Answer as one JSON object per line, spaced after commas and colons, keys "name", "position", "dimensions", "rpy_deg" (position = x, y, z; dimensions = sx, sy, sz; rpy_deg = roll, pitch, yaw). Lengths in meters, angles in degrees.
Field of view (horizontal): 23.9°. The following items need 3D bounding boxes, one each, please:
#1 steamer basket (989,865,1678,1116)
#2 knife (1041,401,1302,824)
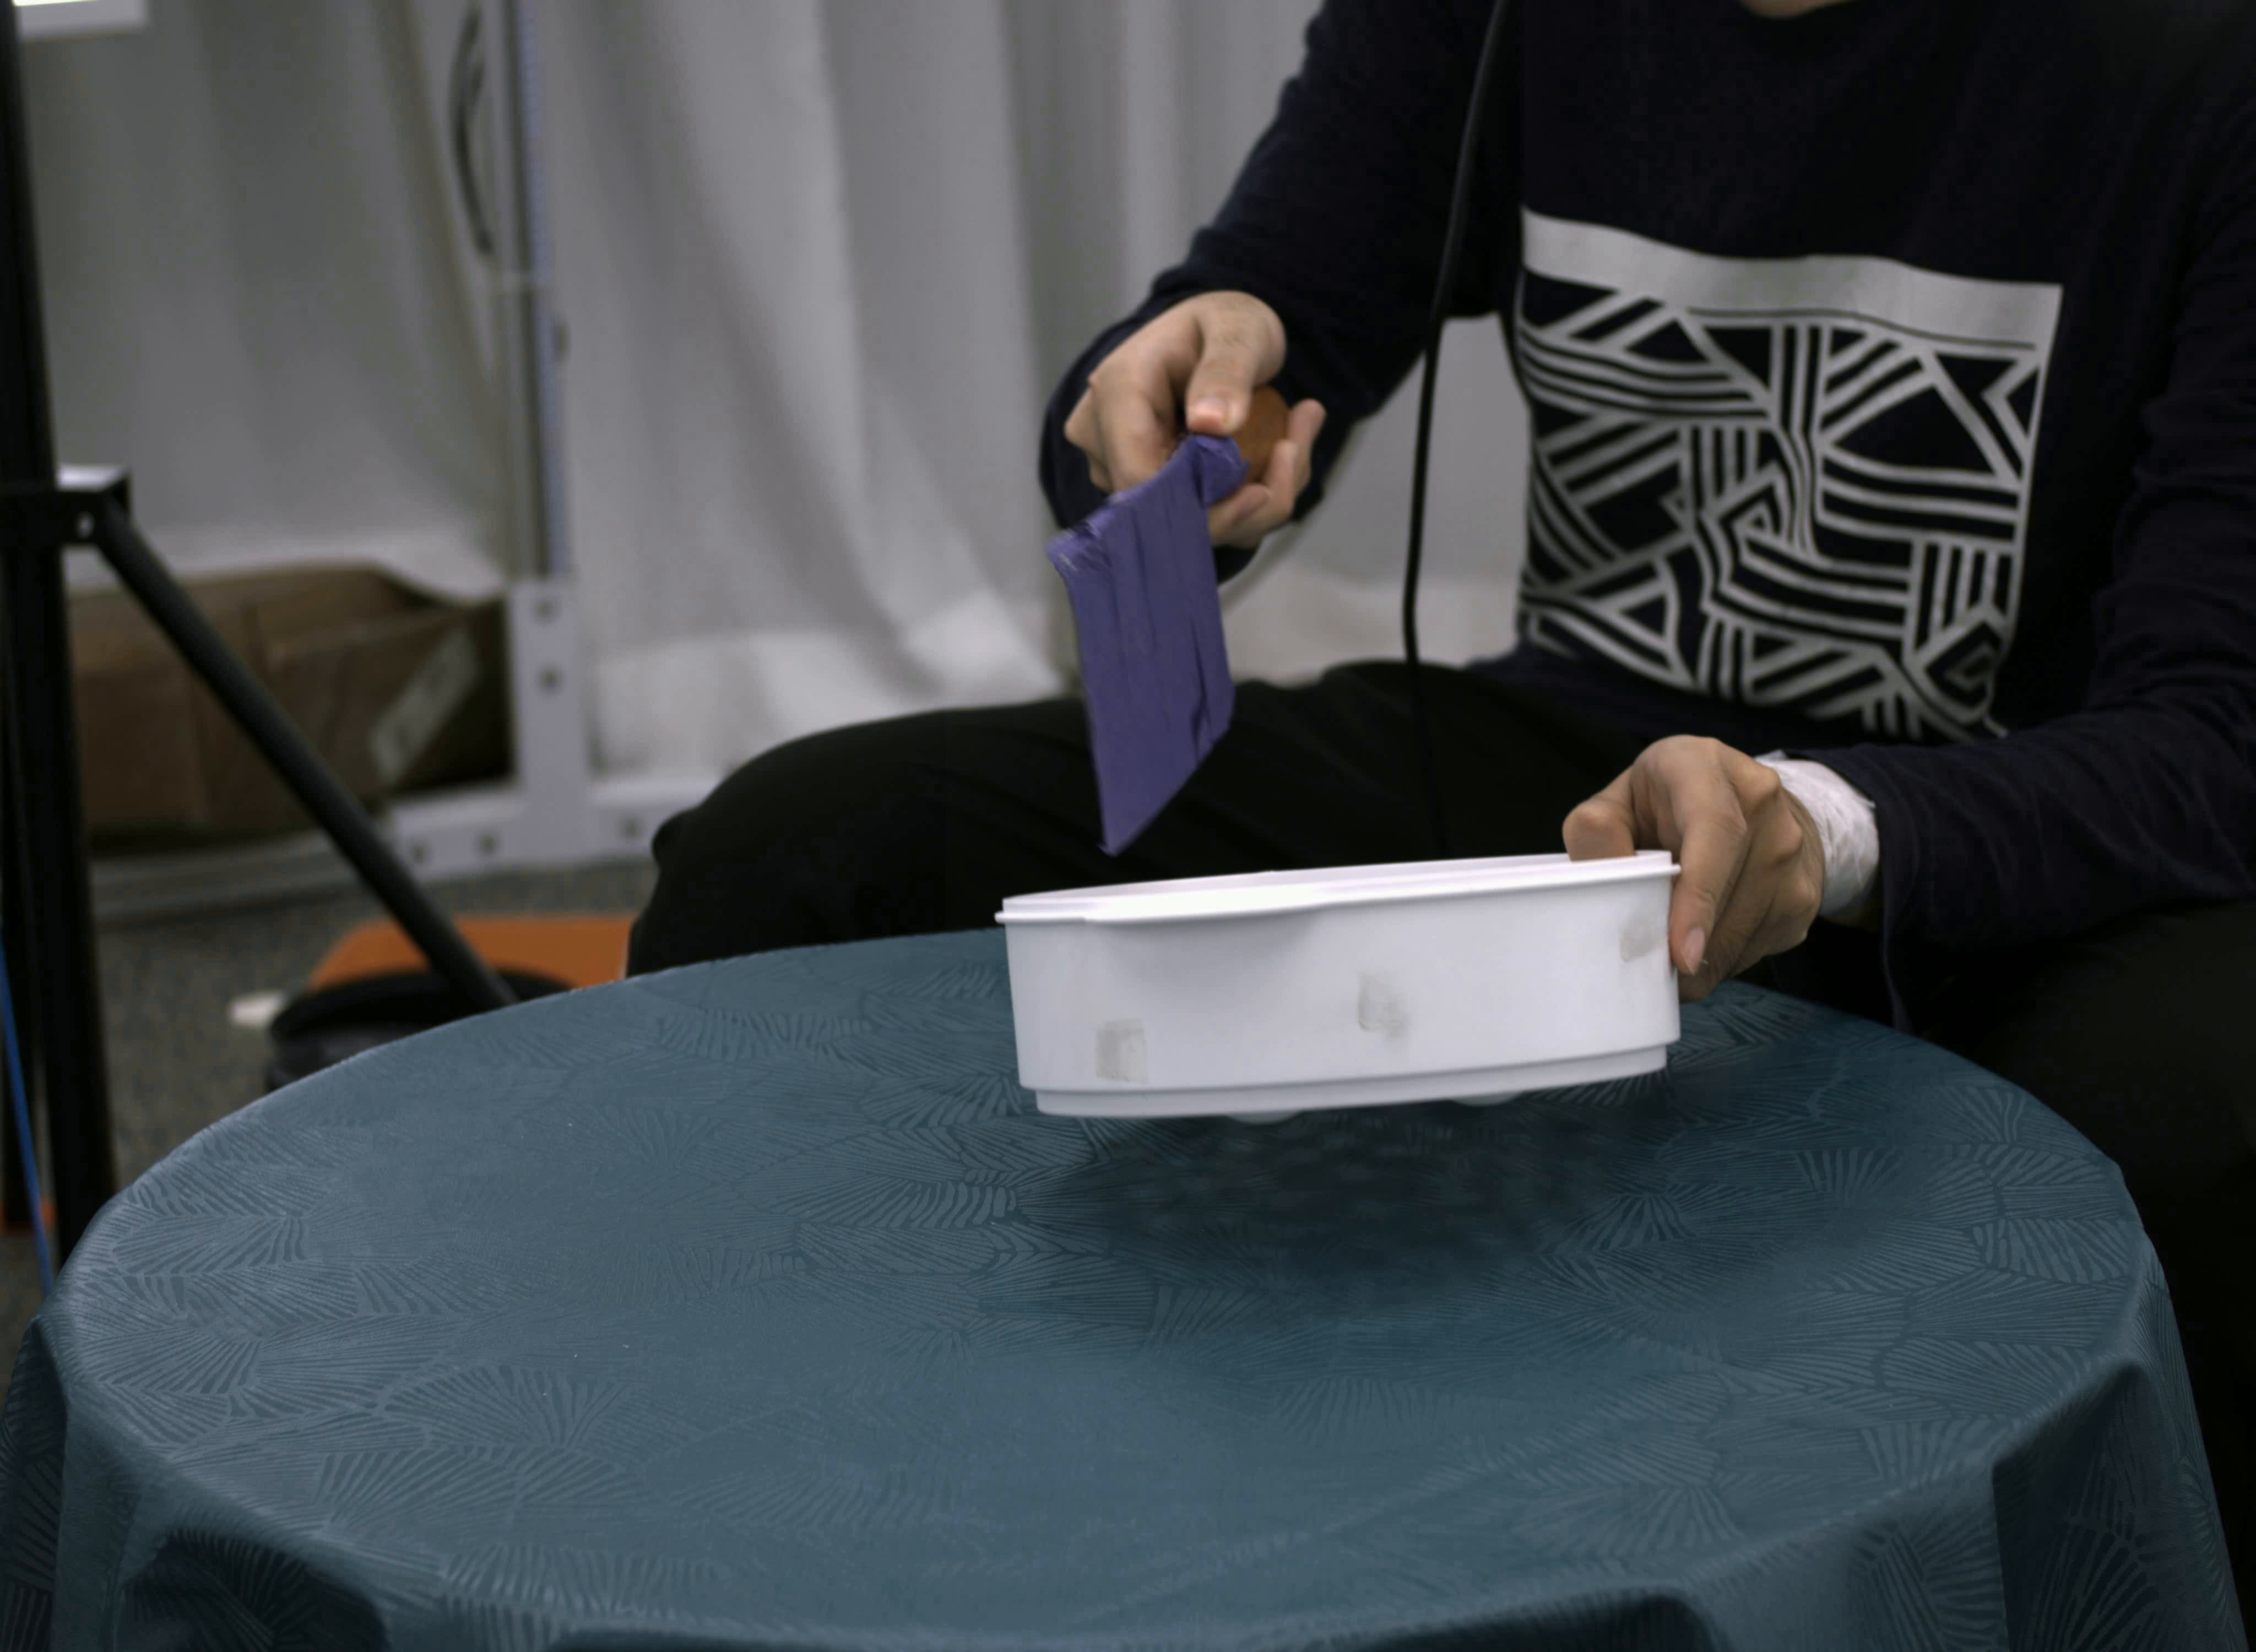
{"name": "steamer basket", "position": [0.060, 0.049, 1.548], "dimensions": [0.205, 0.069, 0.226], "rpy_deg": [-3, -2, 27]}
{"name": "knife", "position": [0.015, -0.067, 1.643], "dimensions": [0.032, 0.104, 0.312], "rpy_deg": [-4, 11, 14]}
